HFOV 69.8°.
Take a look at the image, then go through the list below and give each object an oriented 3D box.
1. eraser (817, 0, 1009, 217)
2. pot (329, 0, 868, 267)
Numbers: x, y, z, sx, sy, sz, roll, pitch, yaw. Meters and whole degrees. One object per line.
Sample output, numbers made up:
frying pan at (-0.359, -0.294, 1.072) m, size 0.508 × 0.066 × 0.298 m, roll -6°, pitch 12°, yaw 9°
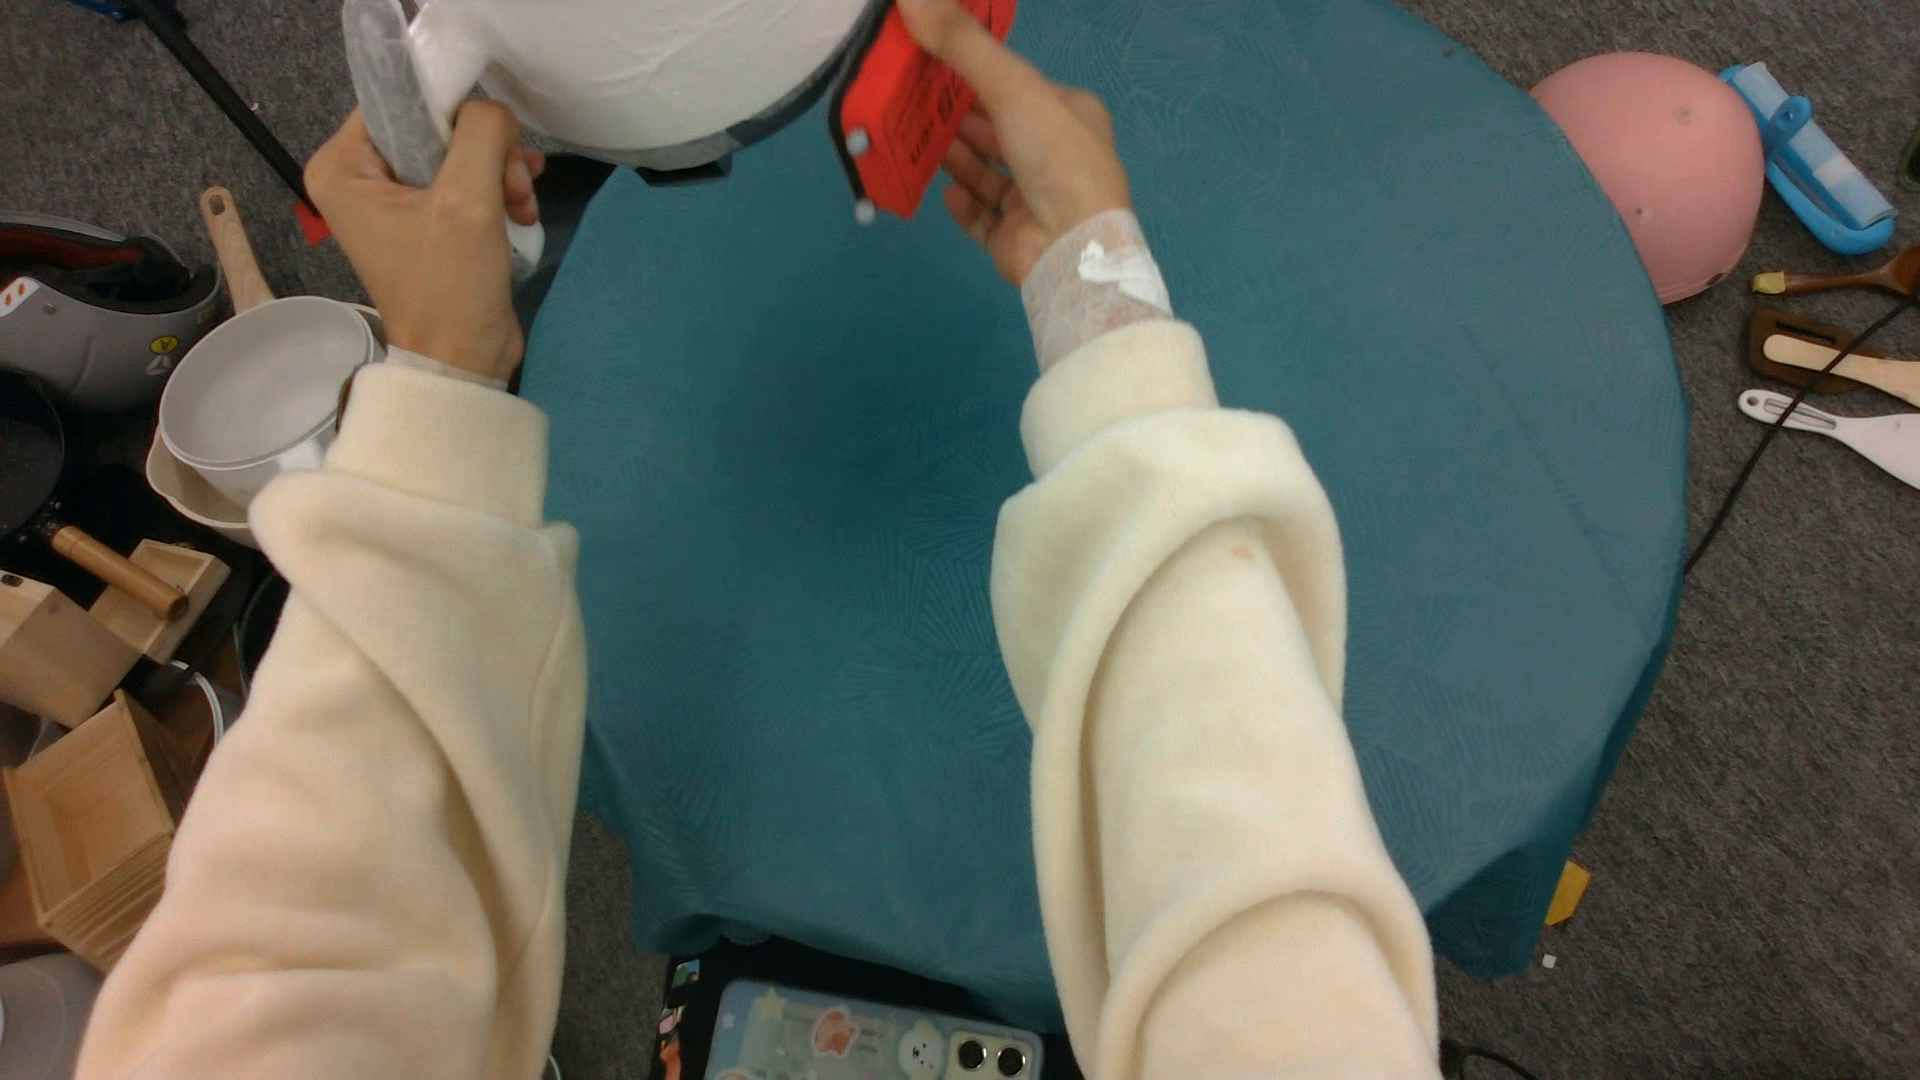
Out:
eraser at (-0.016, -0.183, 0.532) m, size 0.023 × 0.059 × 0.108 m, roll 23°, pitch 72°, yaw 18°
pot at (-0.134, -0.214, 0.480) m, size 0.178 × 0.136 × 0.234 m, roll 24°, pitch 81°, yaw 15°
